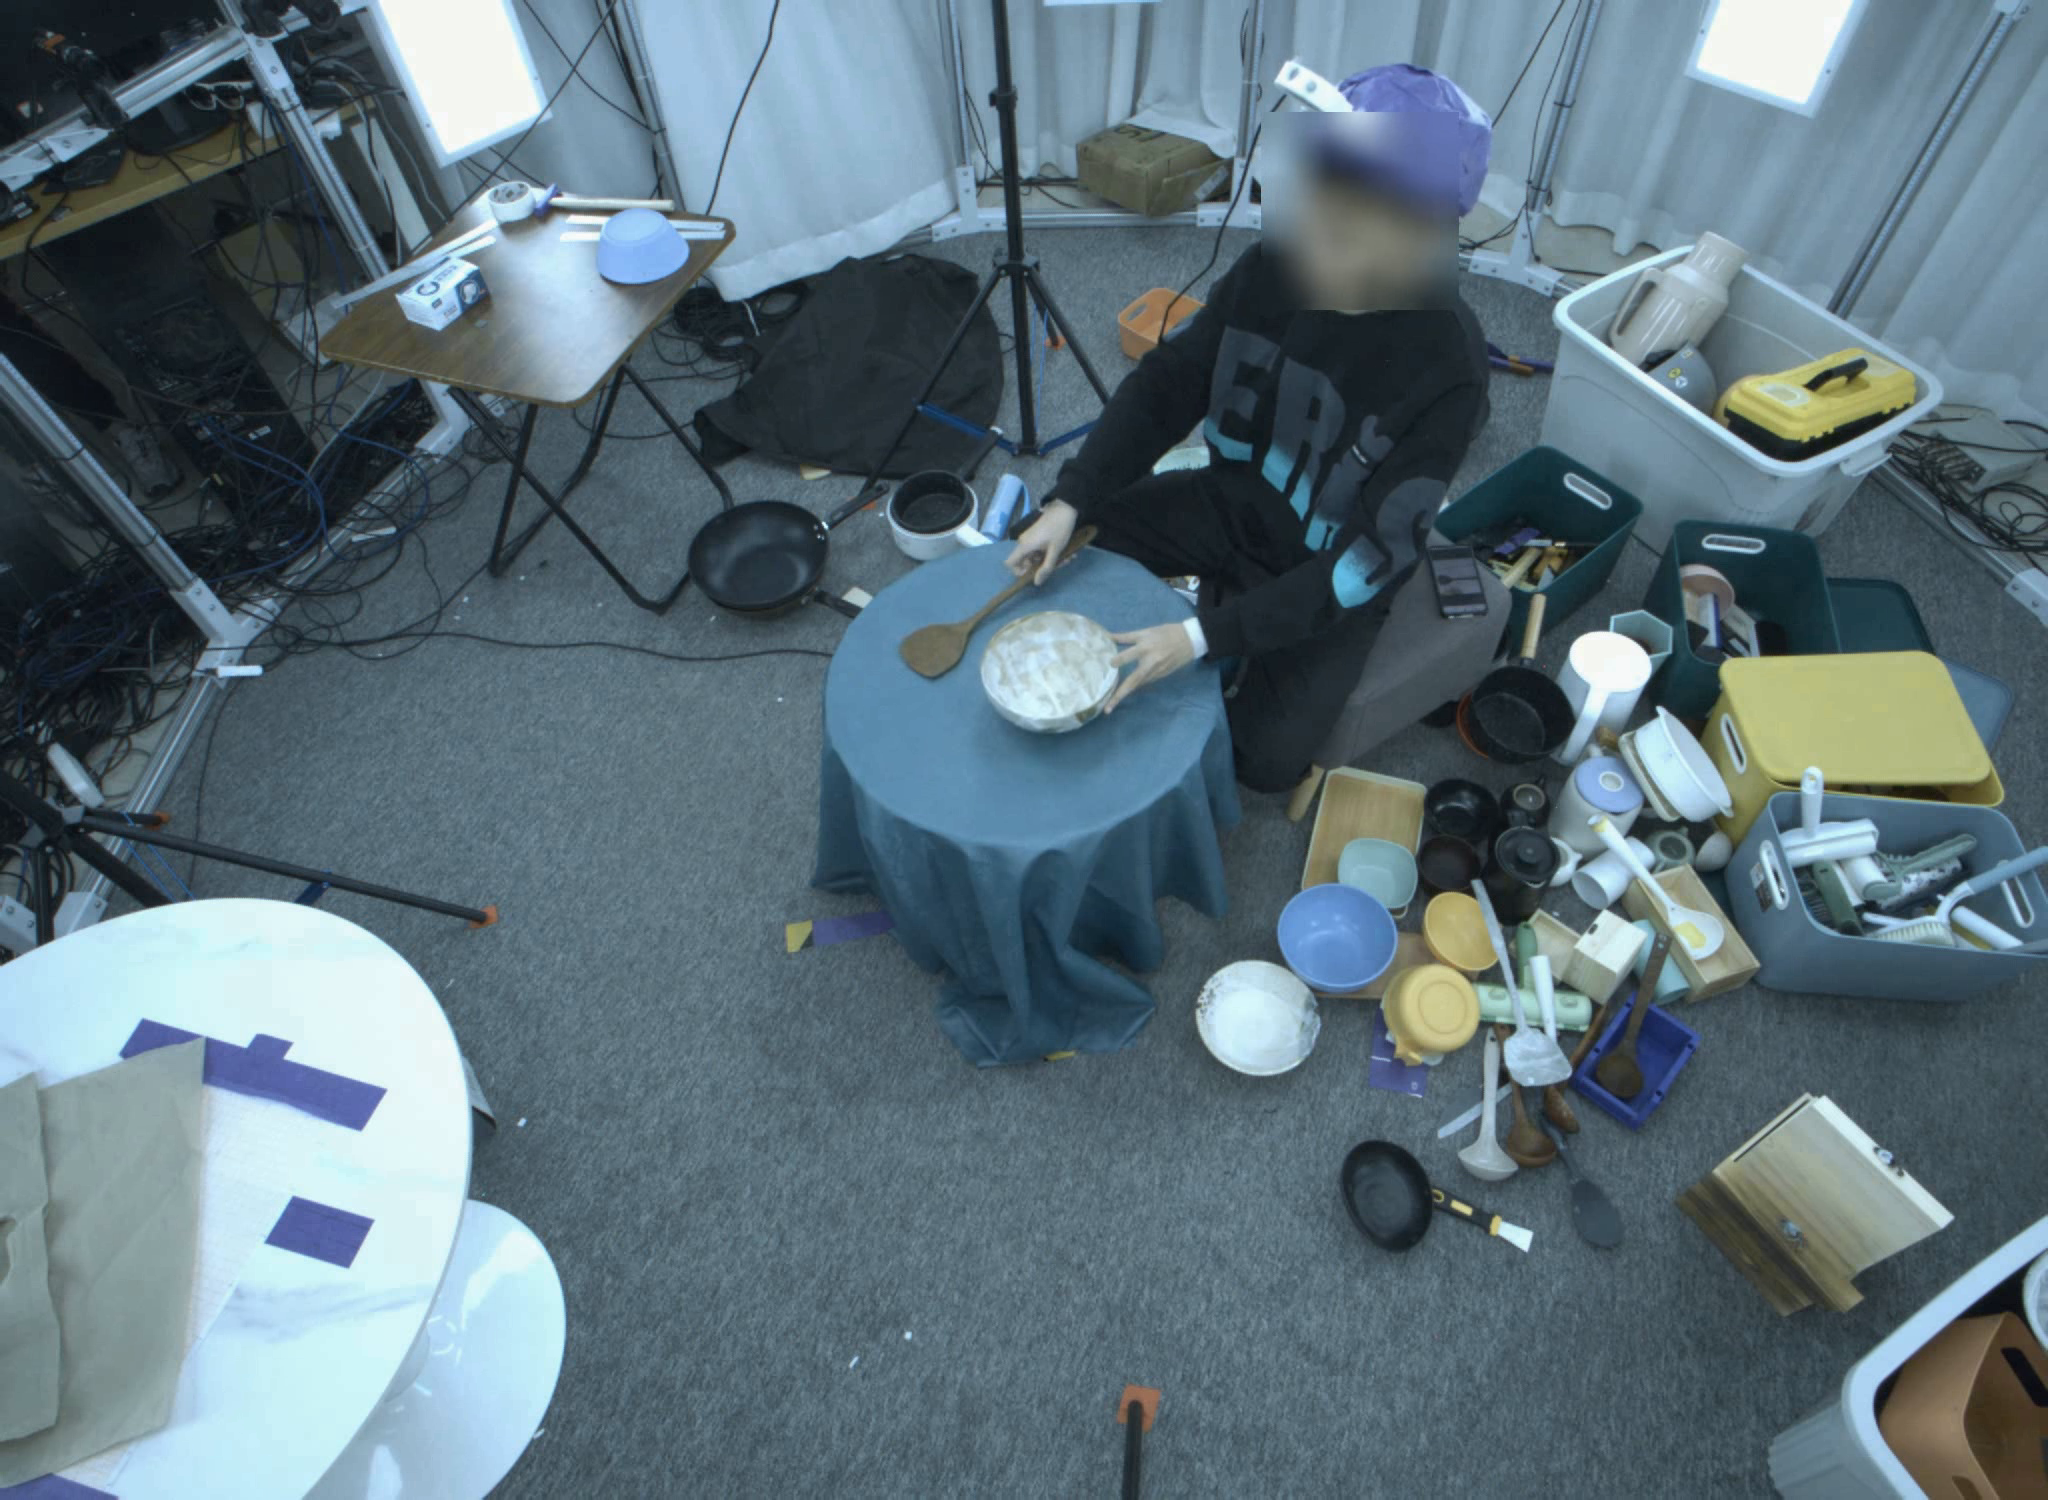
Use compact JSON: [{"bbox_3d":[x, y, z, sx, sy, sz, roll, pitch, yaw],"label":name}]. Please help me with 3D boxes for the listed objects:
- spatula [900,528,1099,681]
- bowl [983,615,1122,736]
[{"bbox_3d":[-0.028,-0.241,1.939,0.388,0.016,0.094,-39,64,-15],"label":"spatula"},{"bbox_3d":[0.046,-0.096,1.806,0.214,0.095,0.212,-1,54,2],"label":"bowl"}]
